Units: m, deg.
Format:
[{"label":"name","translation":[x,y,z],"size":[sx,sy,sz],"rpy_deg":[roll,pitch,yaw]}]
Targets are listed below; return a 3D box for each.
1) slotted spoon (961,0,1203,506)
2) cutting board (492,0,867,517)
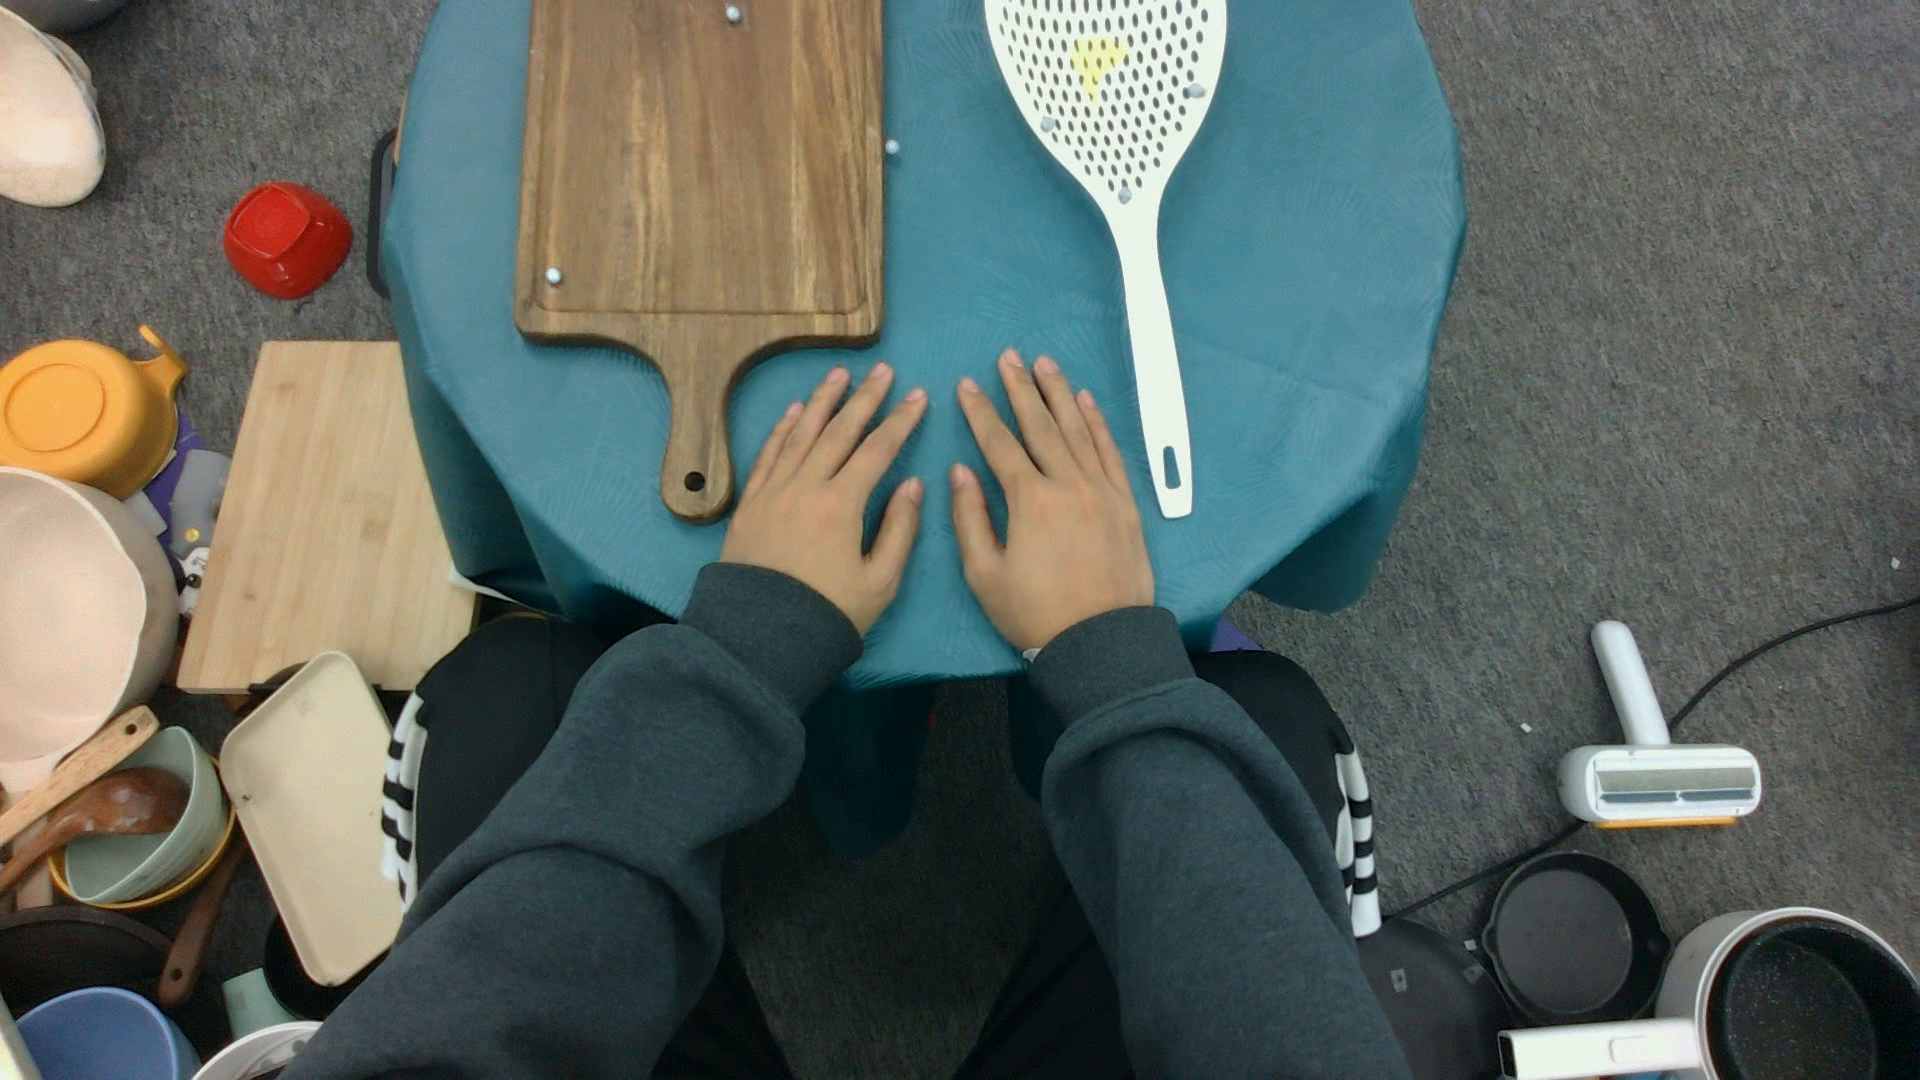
[{"label":"slotted spoon","translation":[0.083,-0.191,0.760],"size":[0.137,0.050,0.348],"rpy_deg":[-7,77,-7]},{"label":"cutting board","translation":[-0.153,-0.184,0.755],"size":[0.201,0.023,0.353],"rpy_deg":[-1,76,-3]}]
